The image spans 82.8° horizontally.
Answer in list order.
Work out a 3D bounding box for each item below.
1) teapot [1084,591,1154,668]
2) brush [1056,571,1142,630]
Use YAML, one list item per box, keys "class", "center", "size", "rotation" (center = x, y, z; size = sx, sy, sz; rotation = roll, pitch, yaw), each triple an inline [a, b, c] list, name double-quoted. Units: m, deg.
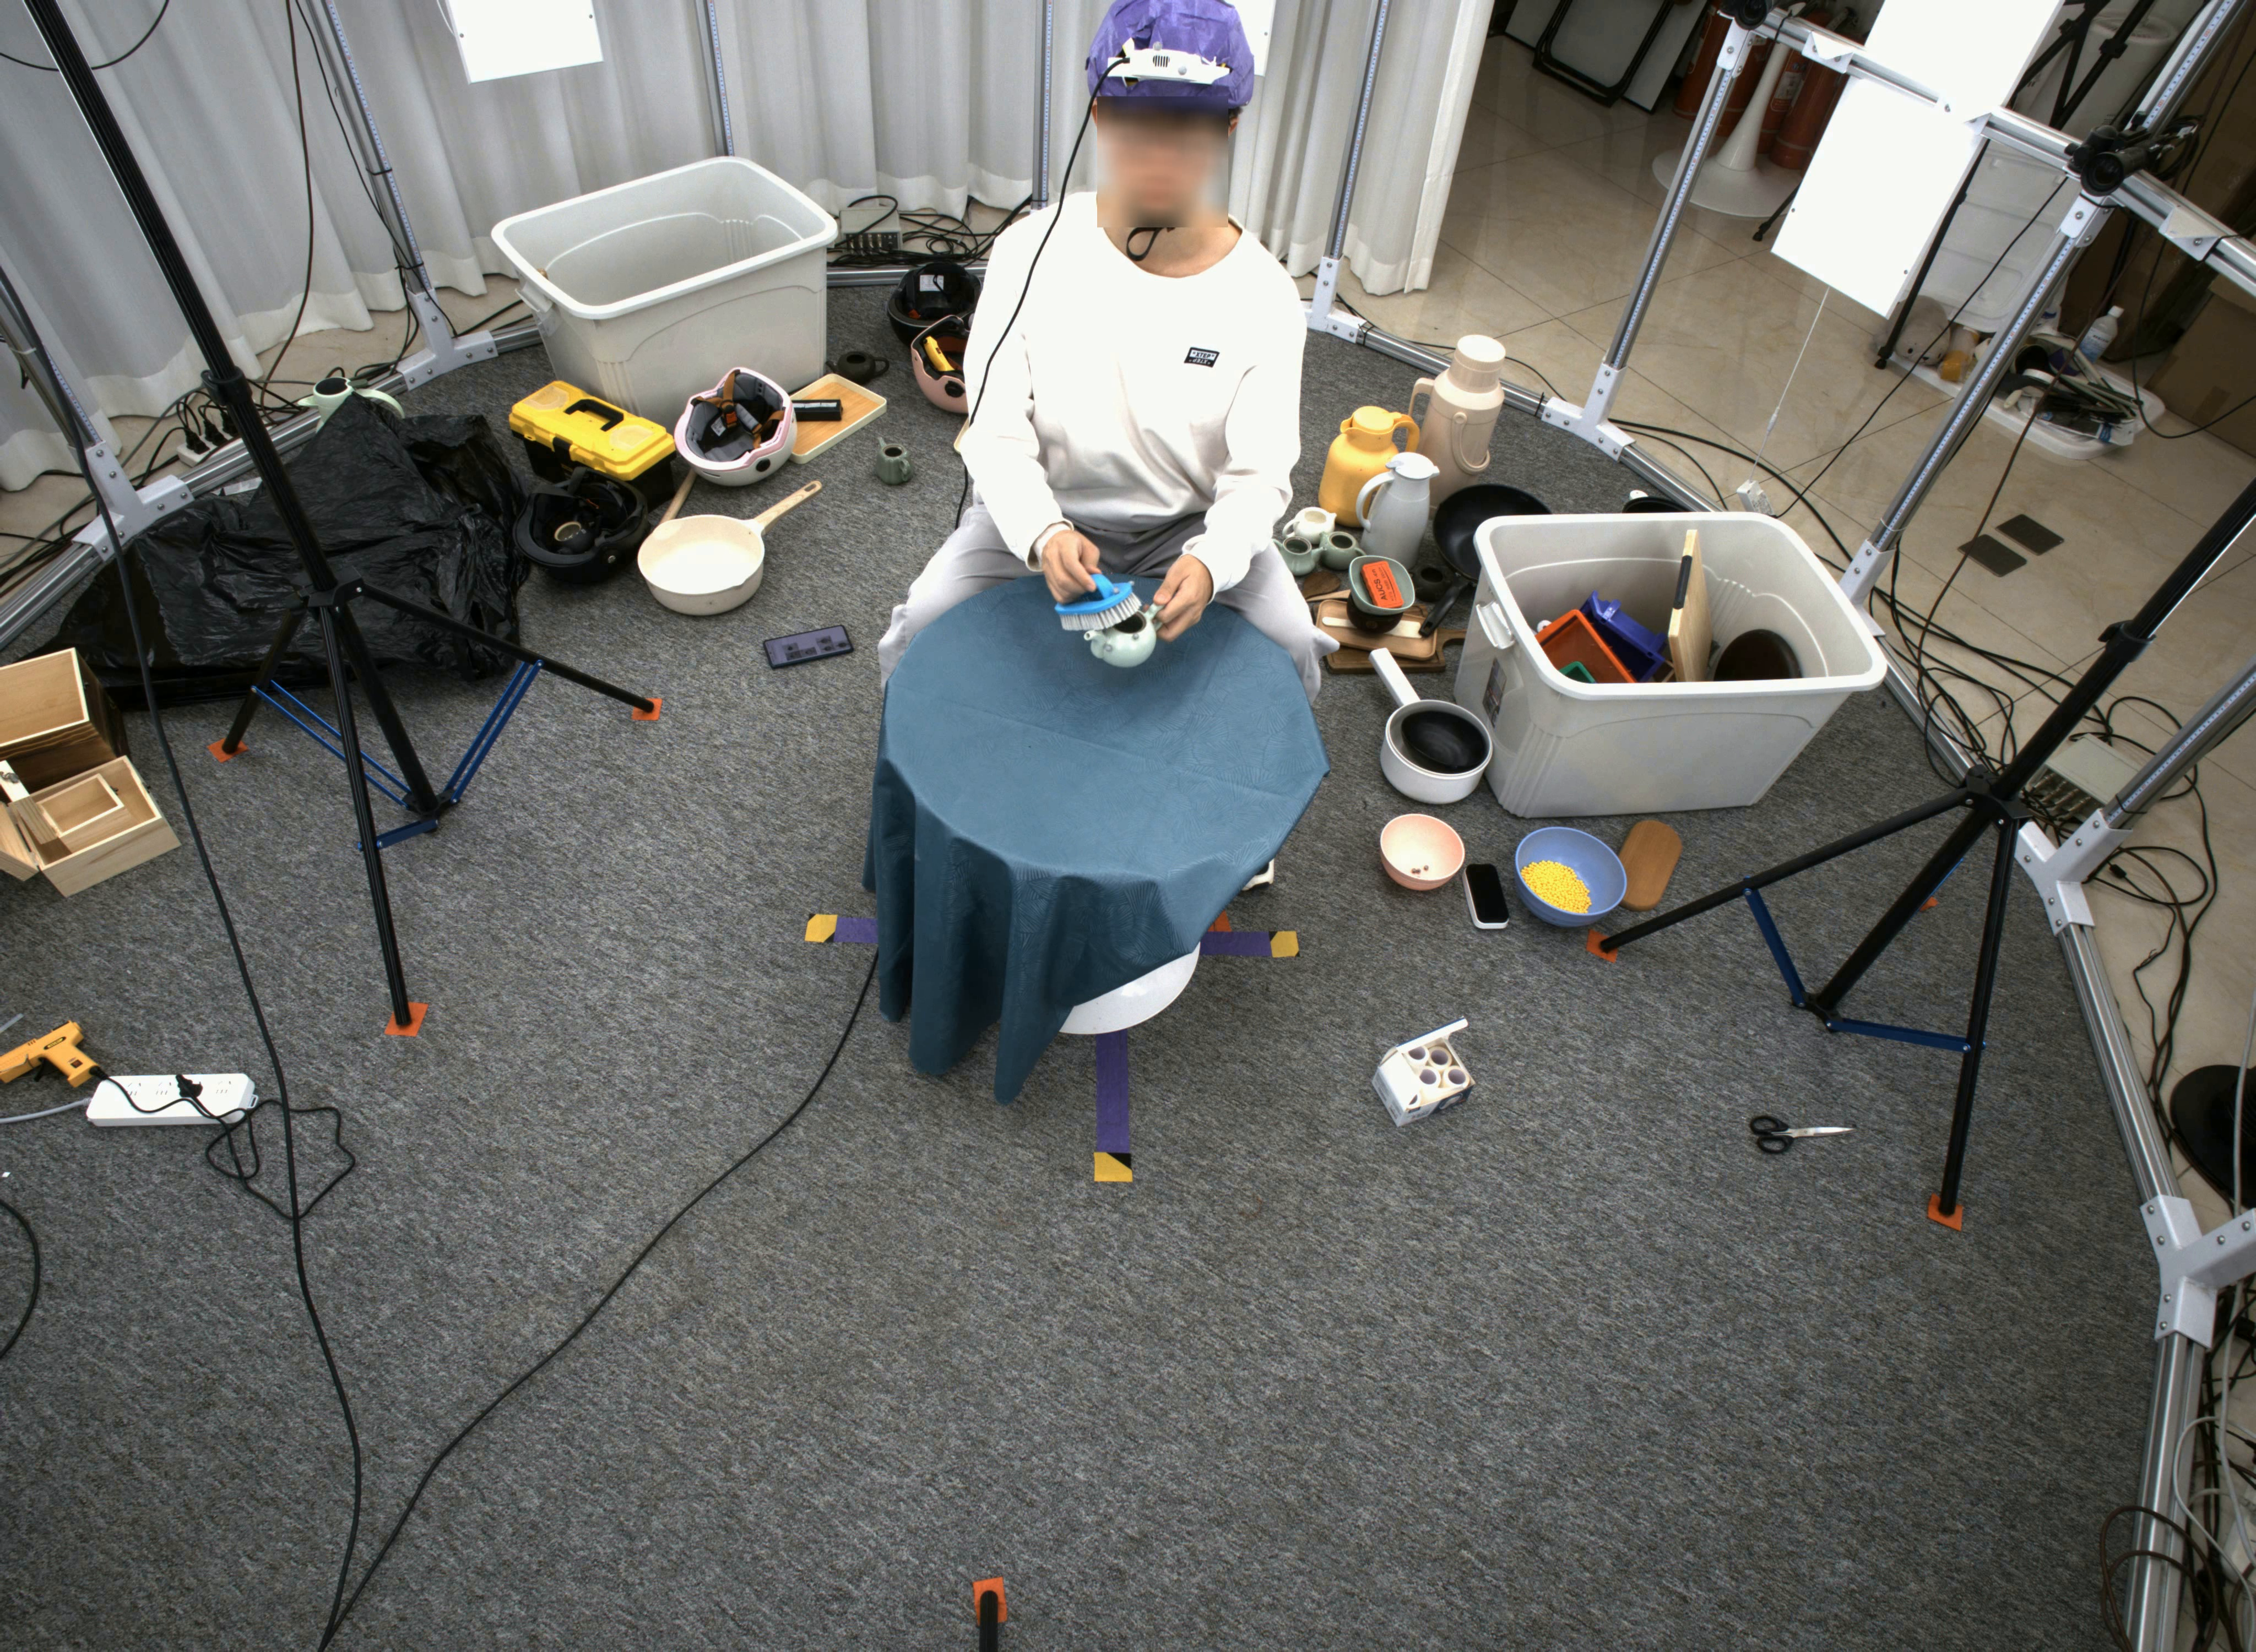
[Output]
- class: "teapot"
  center: [-0.013, -0.263, 1.779]
  size: [0.089, 0.073, 0.145]
  rotation: [39, 64, 17]
- class: "brush"
  center: [-0.047, -0.316, 1.760]
  size: [0.085, 0.062, 0.143]
  rotation: [-44, 29, -24]
